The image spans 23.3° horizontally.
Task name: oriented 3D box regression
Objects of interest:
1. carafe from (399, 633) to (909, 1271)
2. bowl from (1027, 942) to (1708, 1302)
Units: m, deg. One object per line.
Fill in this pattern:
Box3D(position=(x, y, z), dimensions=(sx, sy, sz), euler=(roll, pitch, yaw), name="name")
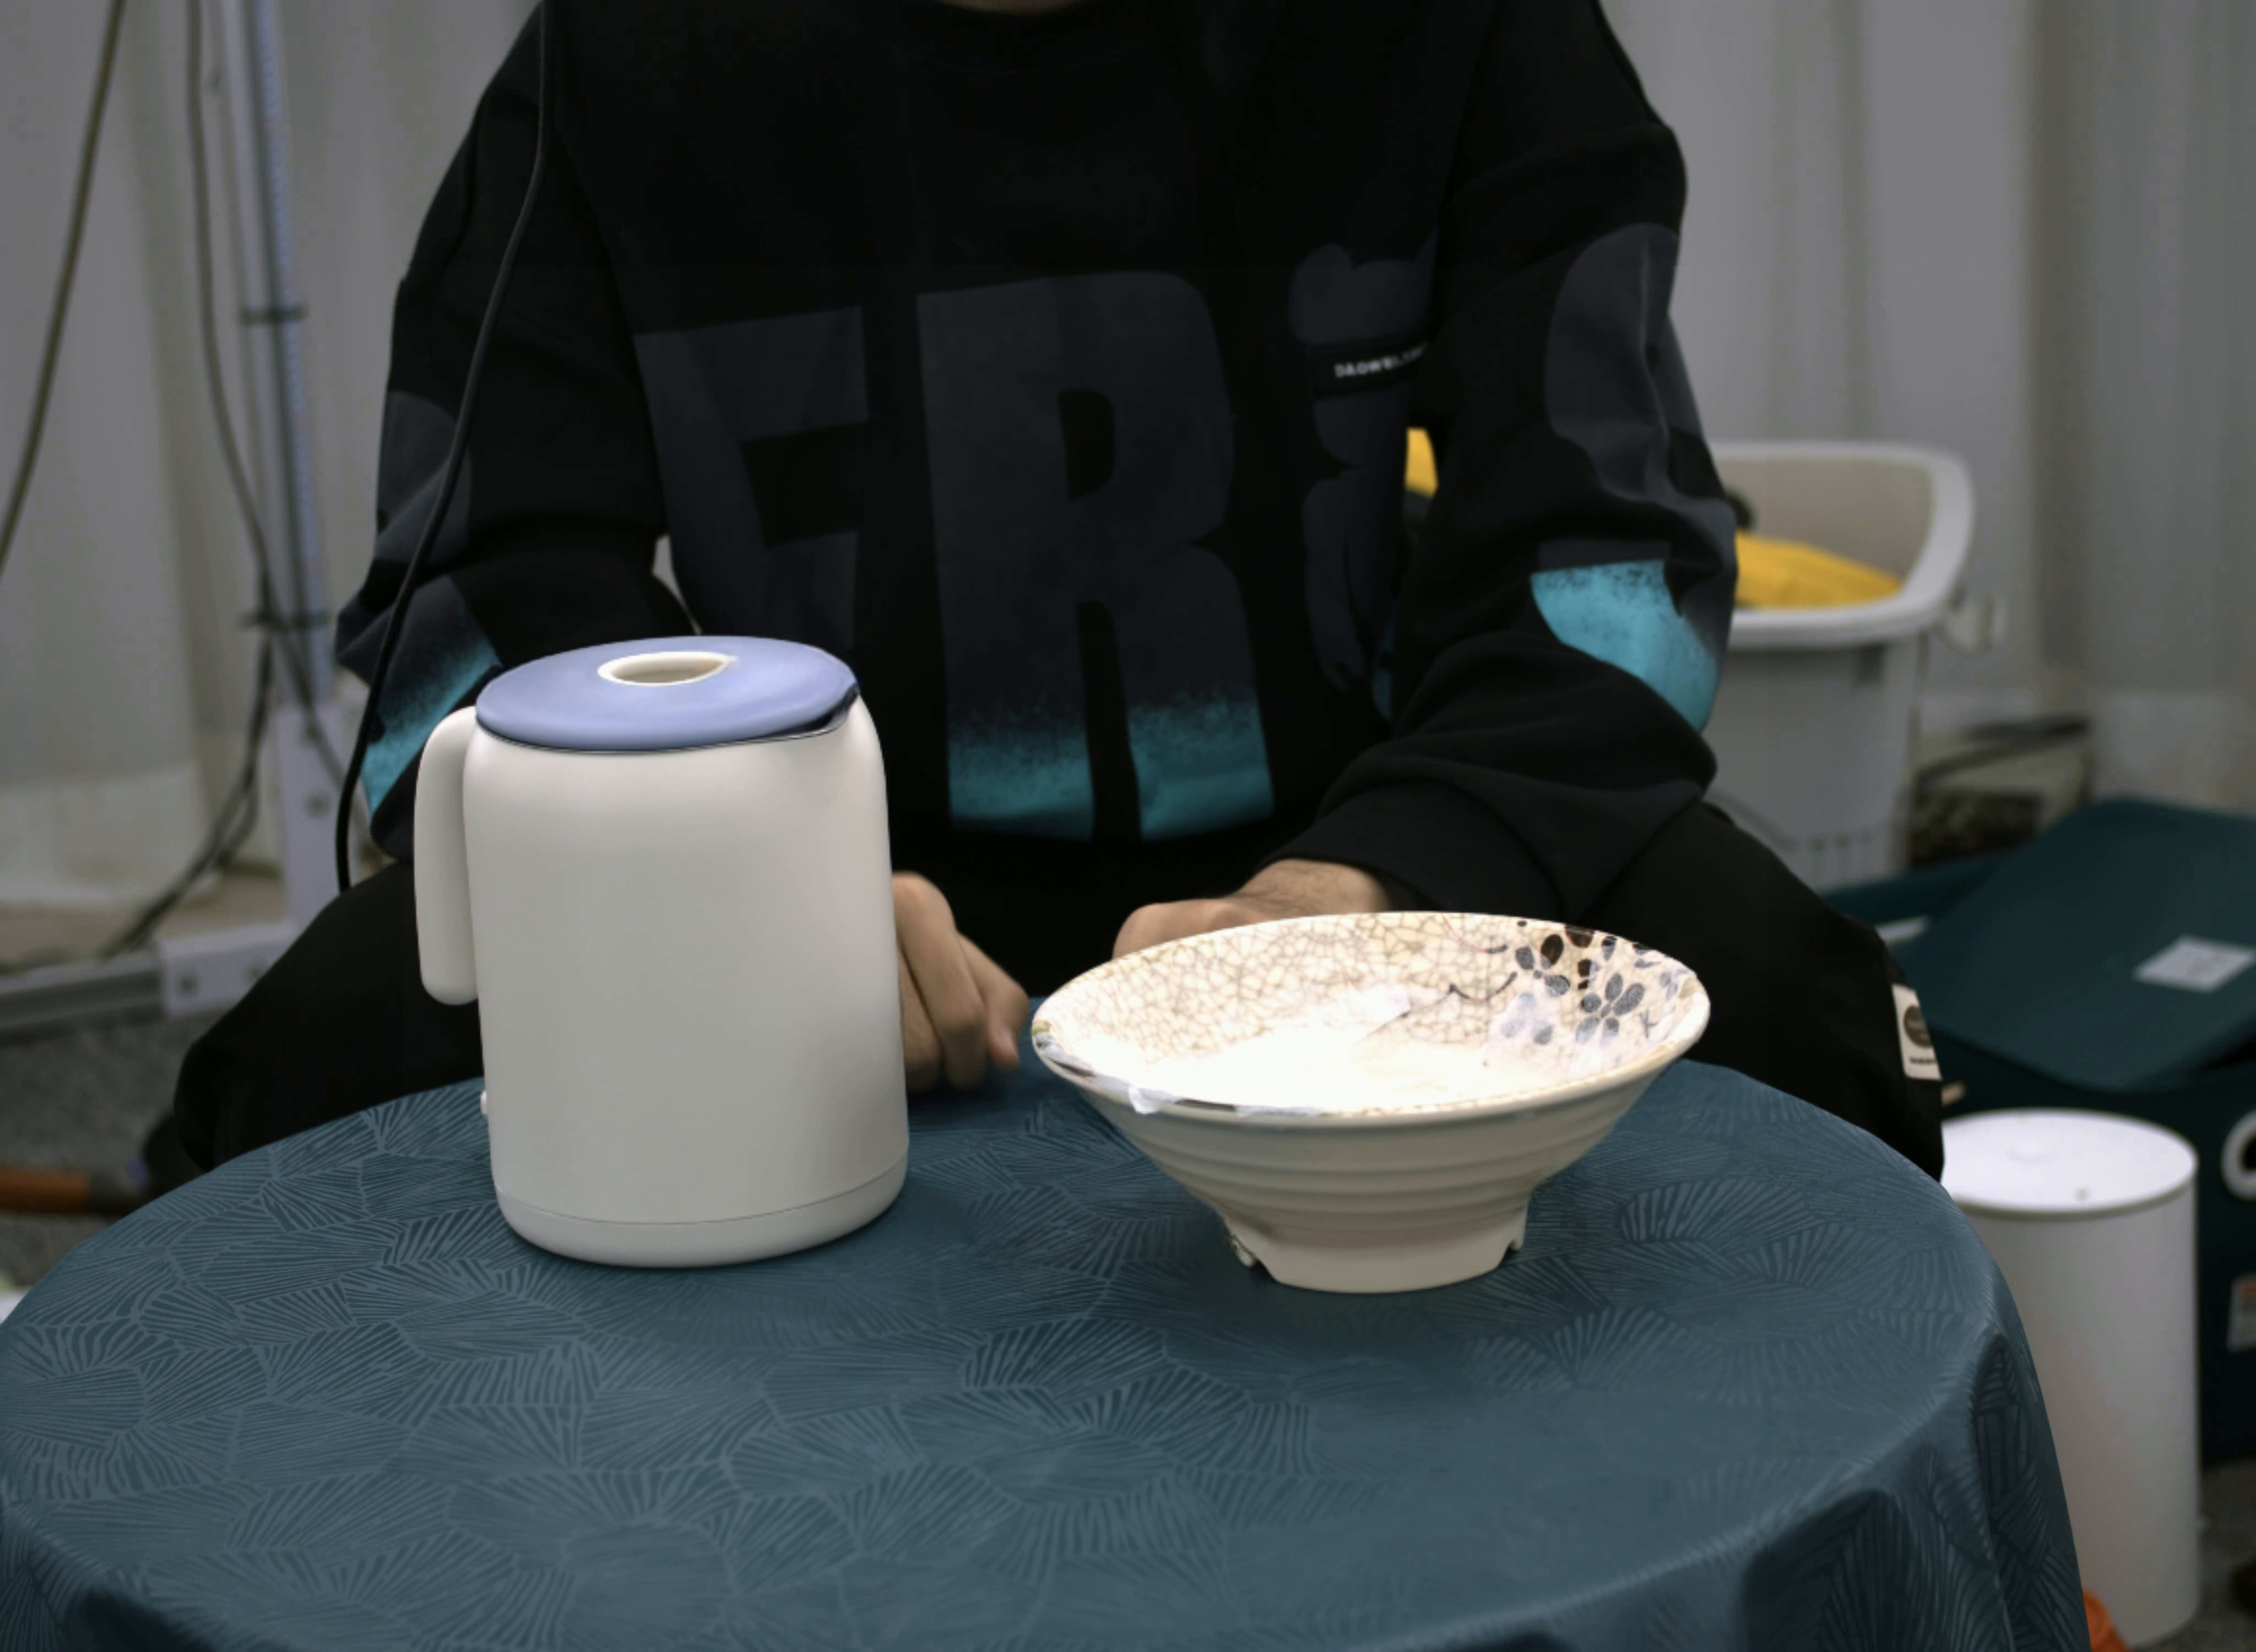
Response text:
Box3D(position=(-0.157, 0.036, 1.714), dimensions=(0.192, 0.182, 0.132), euler=(6, 15, 39), name="carafe")
Box3D(position=(0.072, 0.094, 1.640), dimensions=(0.203, 0.078, 0.205), euler=(-2, 11, 0), name="bowl")
